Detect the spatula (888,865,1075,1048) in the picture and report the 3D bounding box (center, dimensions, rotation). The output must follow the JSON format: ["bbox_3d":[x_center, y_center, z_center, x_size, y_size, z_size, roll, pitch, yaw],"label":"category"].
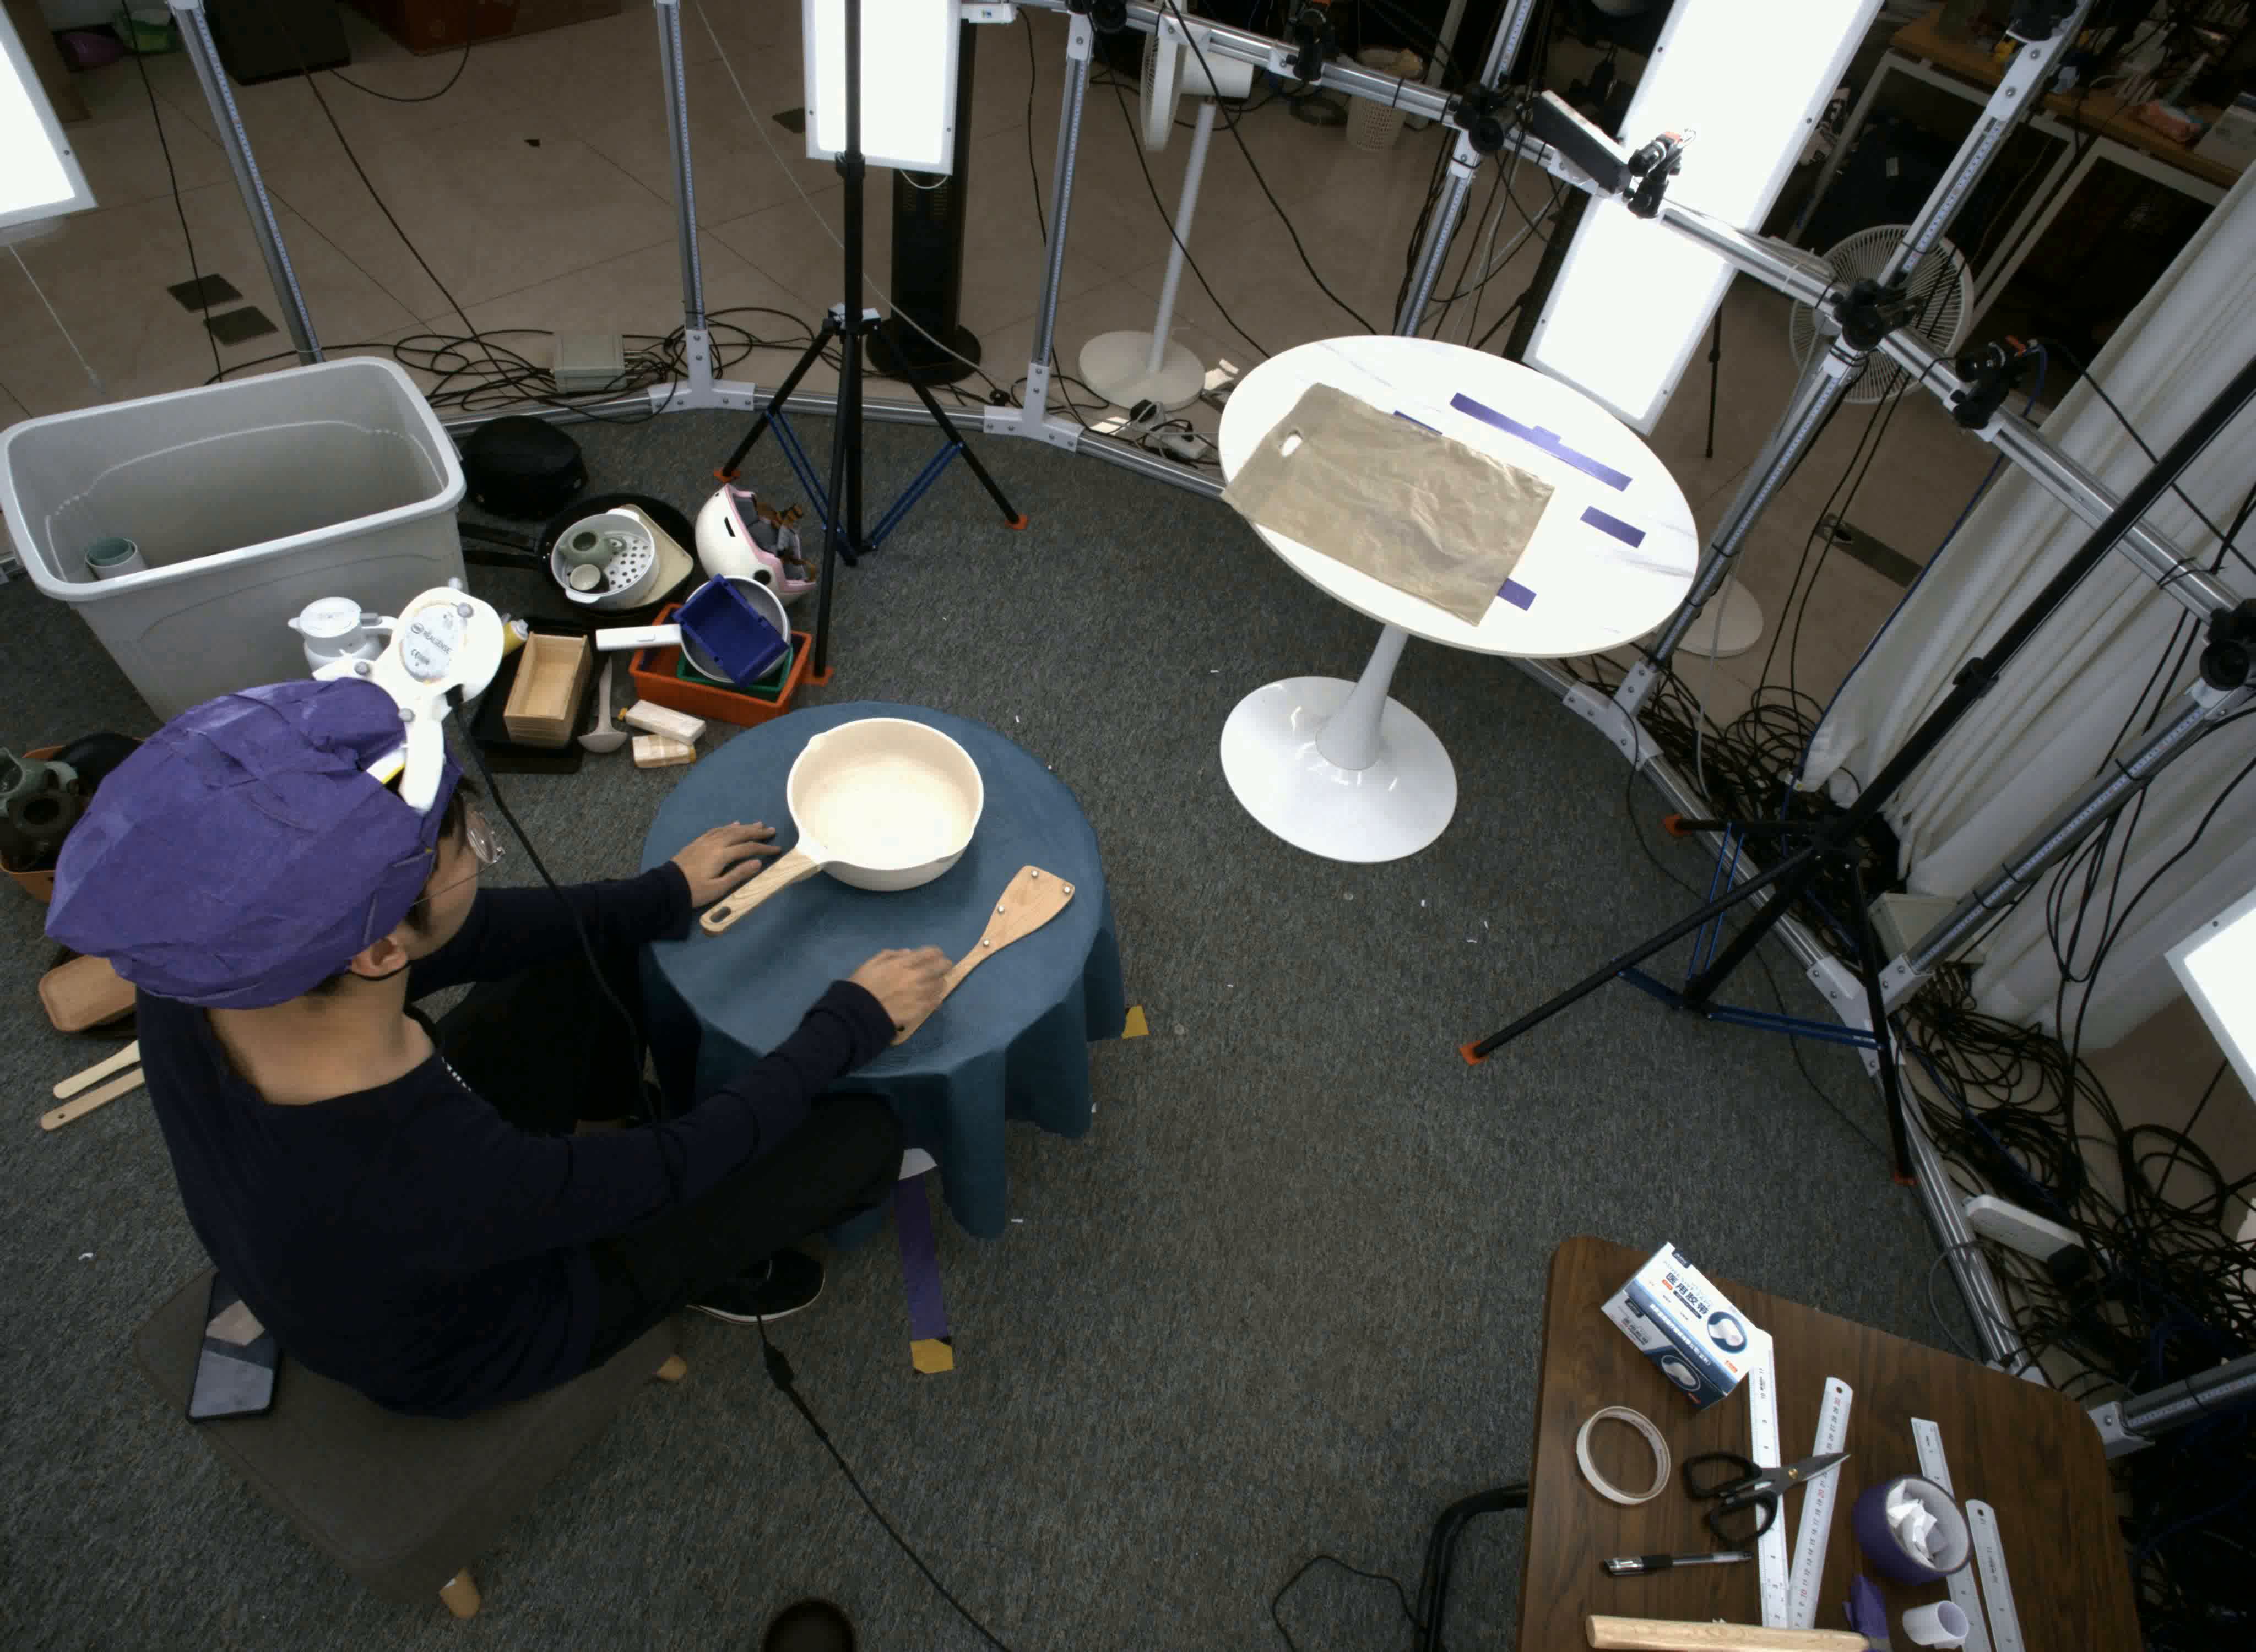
[{"bbox_3d":[-0.191,0.161,1.652,0.078,0.017,0.327,35,54,12],"label":"spatula"}]

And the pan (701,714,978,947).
[{"bbox_3d":[-0.375,0.025,1.652,0.258,0.104,0.434,35,54,12],"label":"pan"}]
